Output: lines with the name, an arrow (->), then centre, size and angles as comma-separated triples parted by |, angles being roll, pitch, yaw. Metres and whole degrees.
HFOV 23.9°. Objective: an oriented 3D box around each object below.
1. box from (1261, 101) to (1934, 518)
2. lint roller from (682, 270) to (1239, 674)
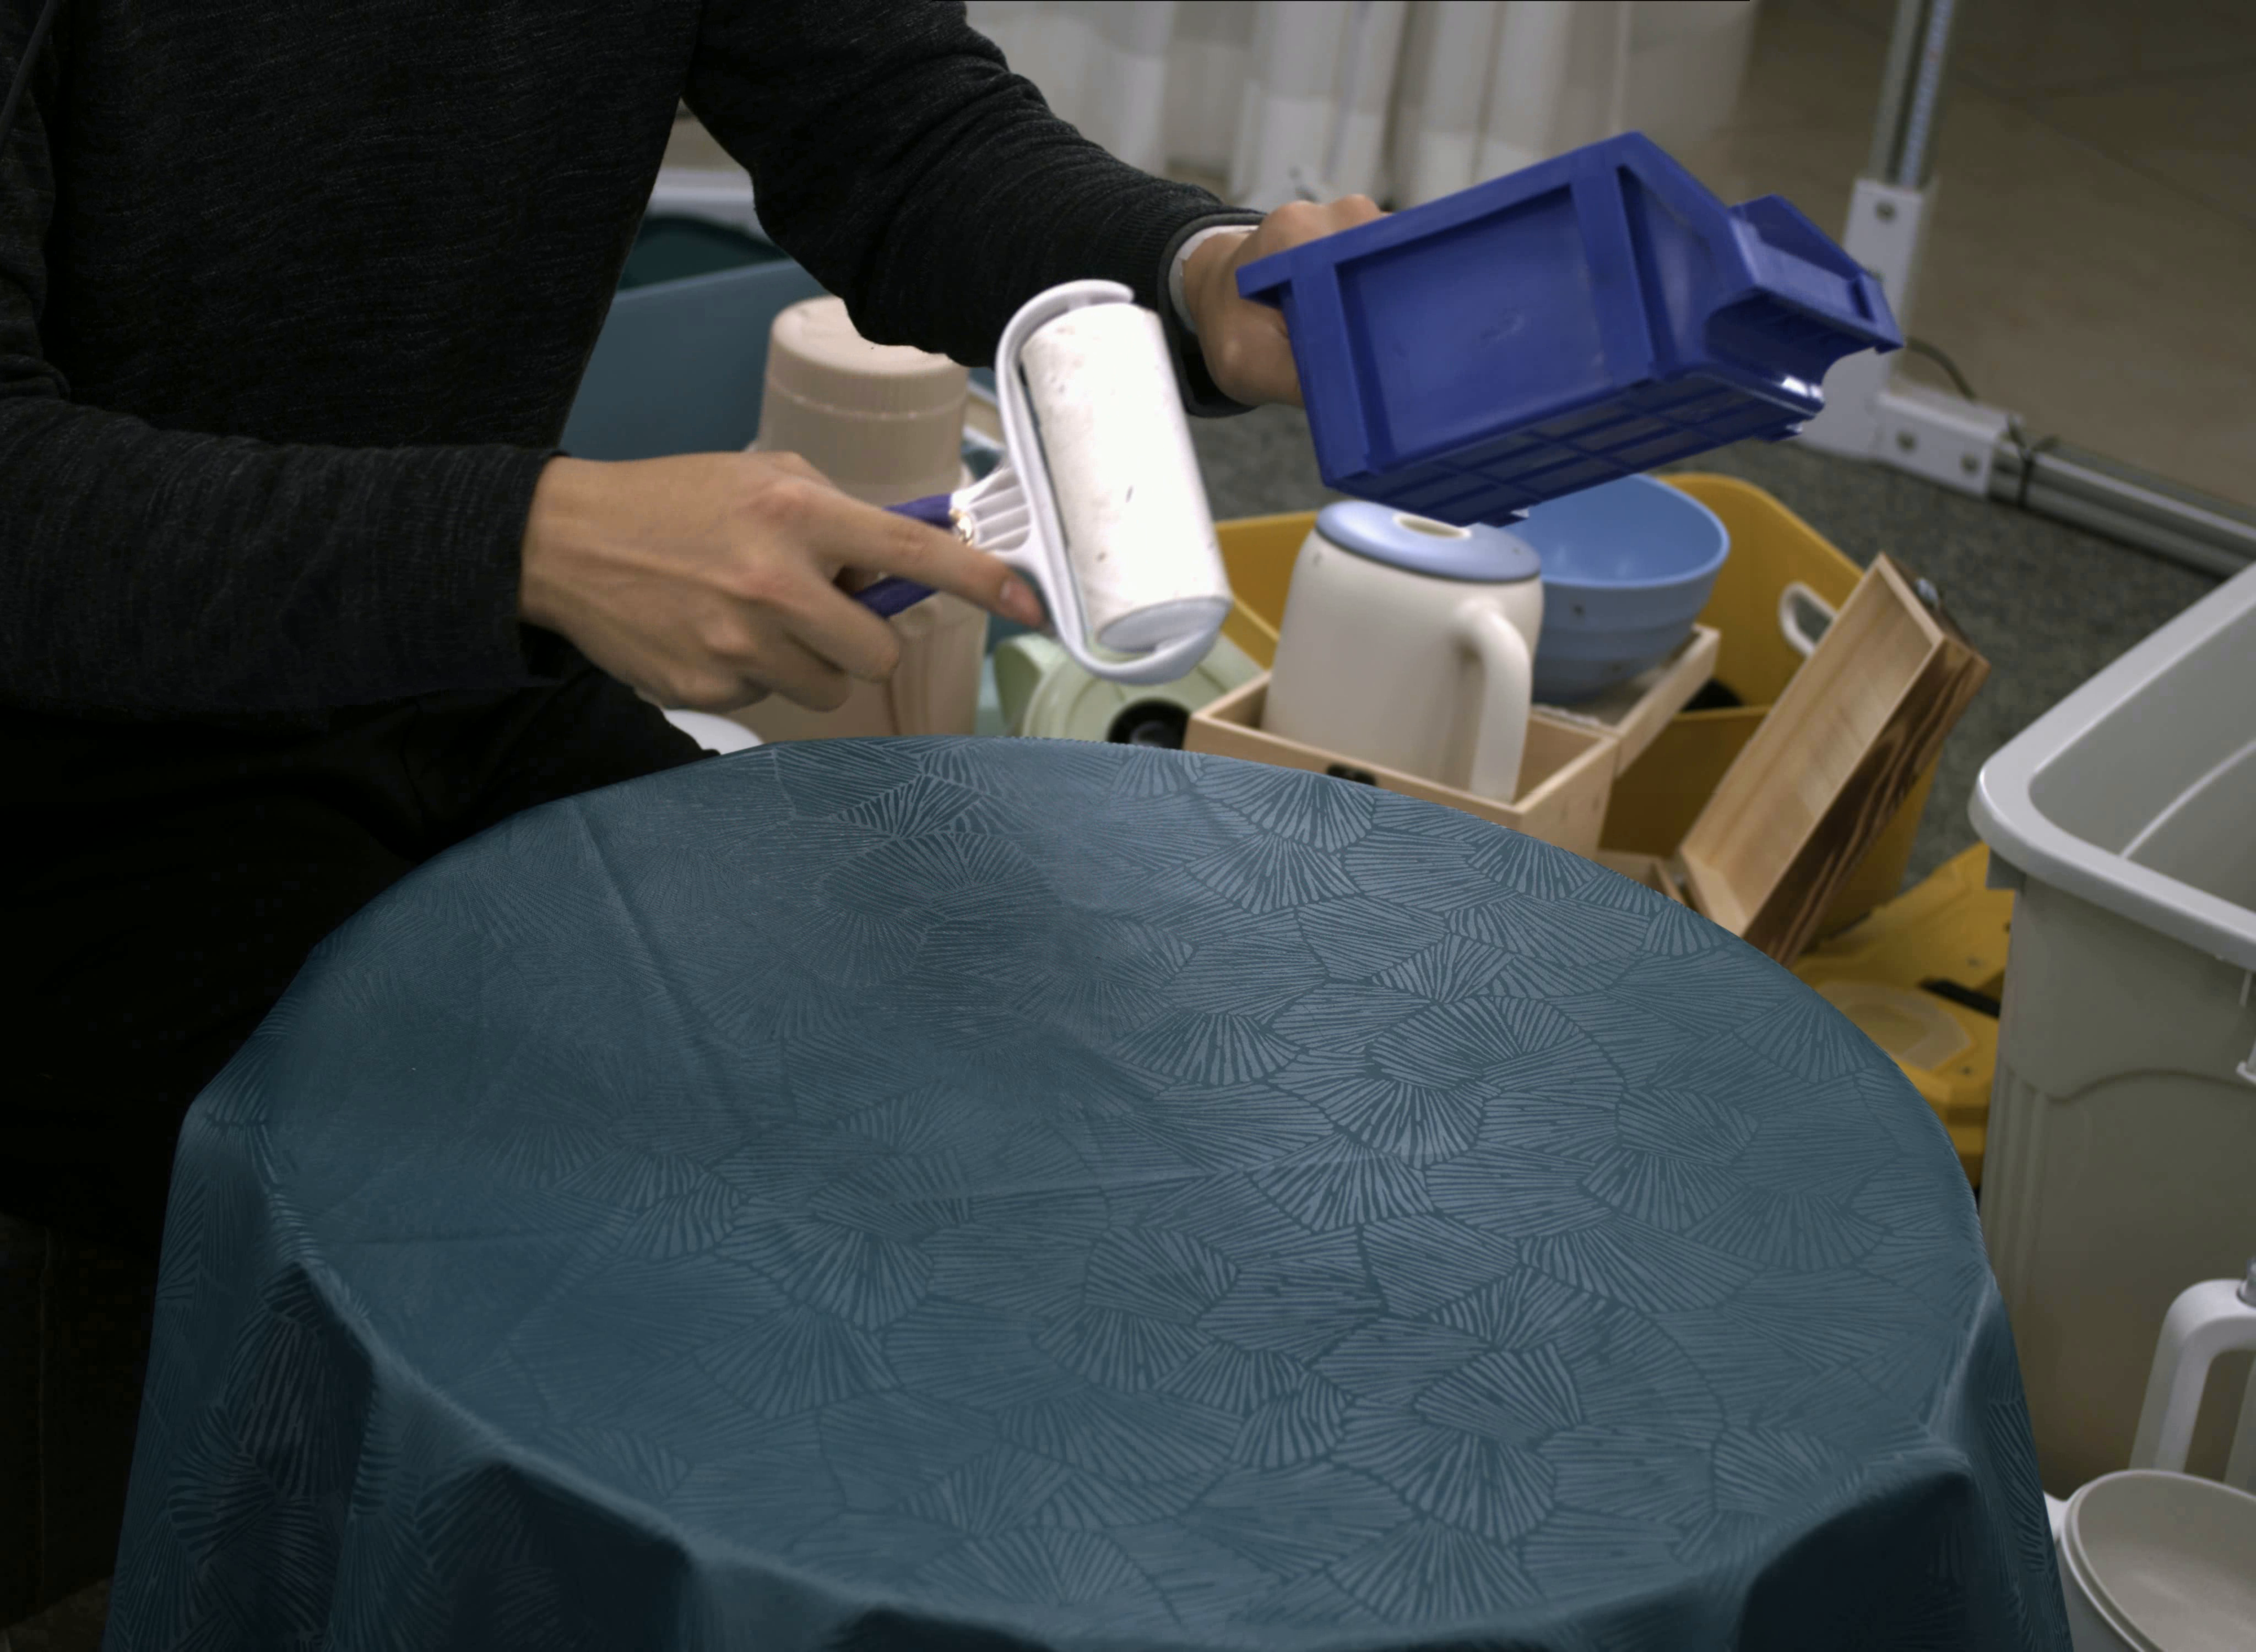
box -> 0.157, -0.168, 1.749 | 0.179, 0.082, 0.123 | -20, -16, 29
lint roller -> -0.062, -0.098, 1.711 | 0.180, 0.134, 0.050 | -14, -15, 5
